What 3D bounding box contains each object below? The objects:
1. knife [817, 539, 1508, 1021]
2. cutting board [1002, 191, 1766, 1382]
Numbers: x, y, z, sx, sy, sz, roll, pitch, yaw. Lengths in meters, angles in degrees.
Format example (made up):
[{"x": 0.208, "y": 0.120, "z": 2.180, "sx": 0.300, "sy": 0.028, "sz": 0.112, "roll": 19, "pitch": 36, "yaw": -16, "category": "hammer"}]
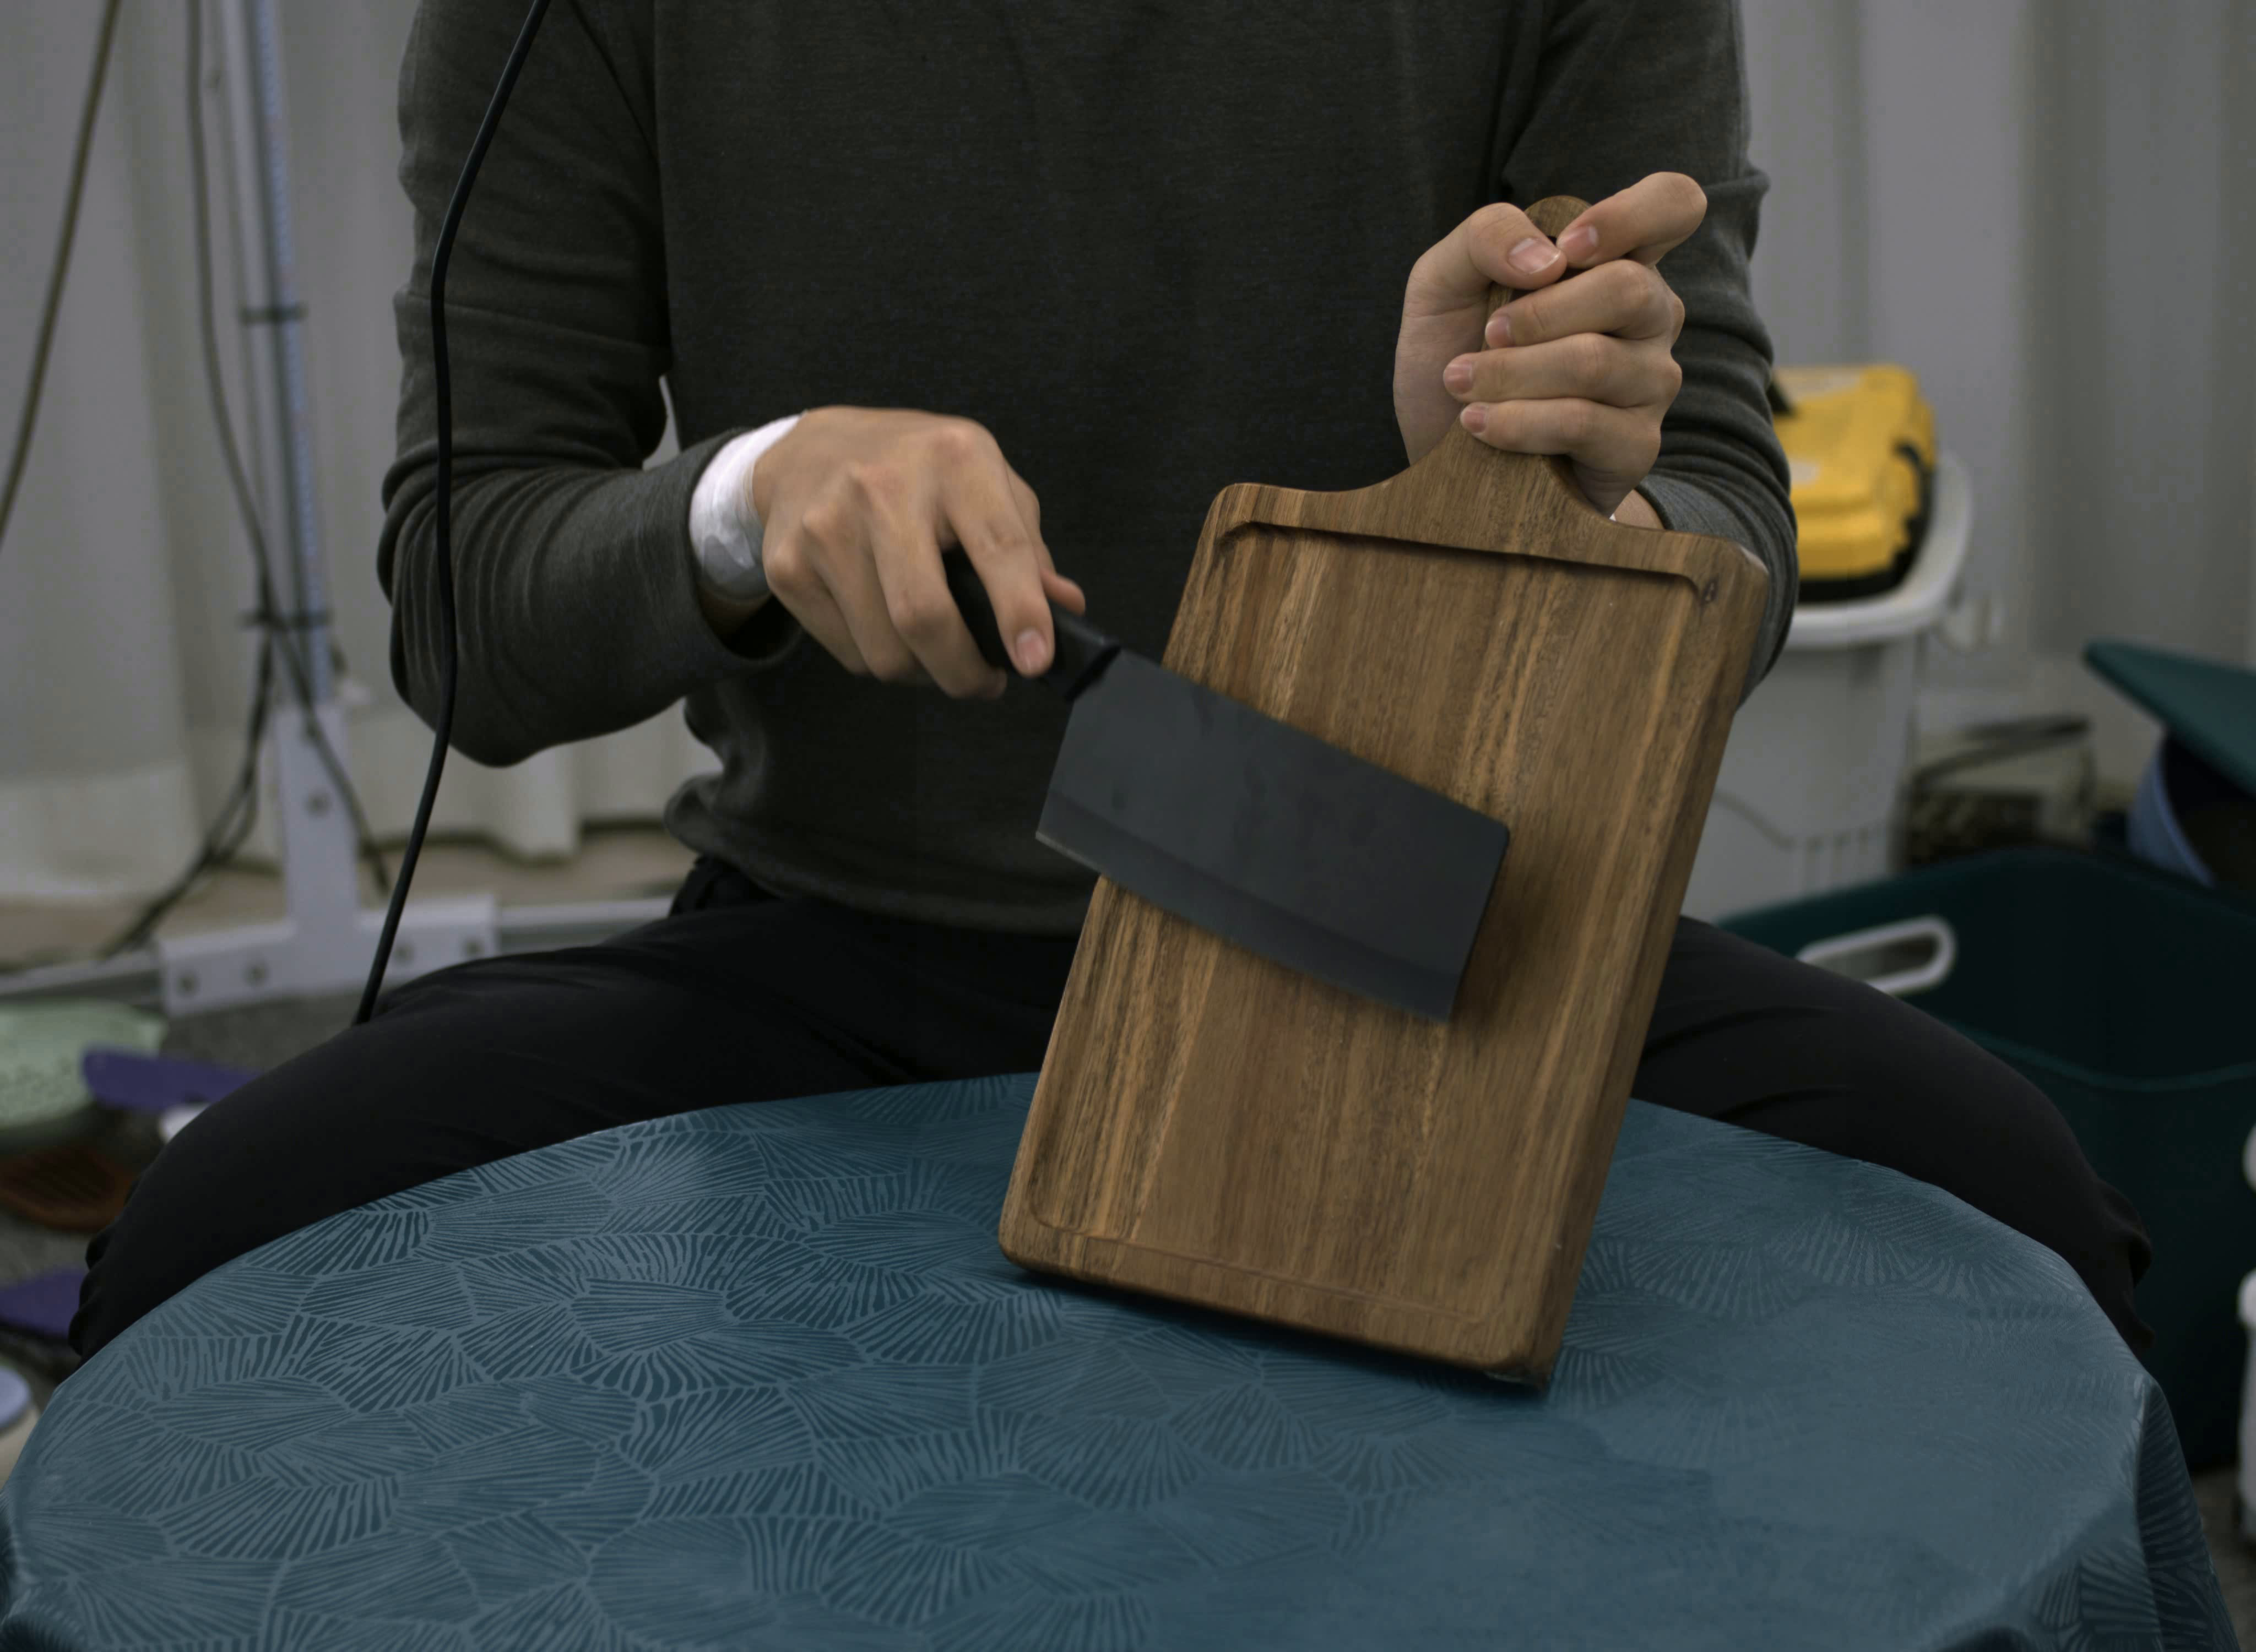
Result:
[{"x": 0.002, "y": -0.021, "z": 1.654, "sx": 0.020, "sy": 0.081, "sz": 0.305, "roll": 12, "pitch": 14, "yaw": -46, "category": "knife"}, {"x": 0.086, "y": -0.021, "z": 1.615, "sx": 0.202, "sy": 0.355, "sz": 0.023, "roll": 7, "pitch": -14, "yaw": 38, "category": "cutting board"}]
